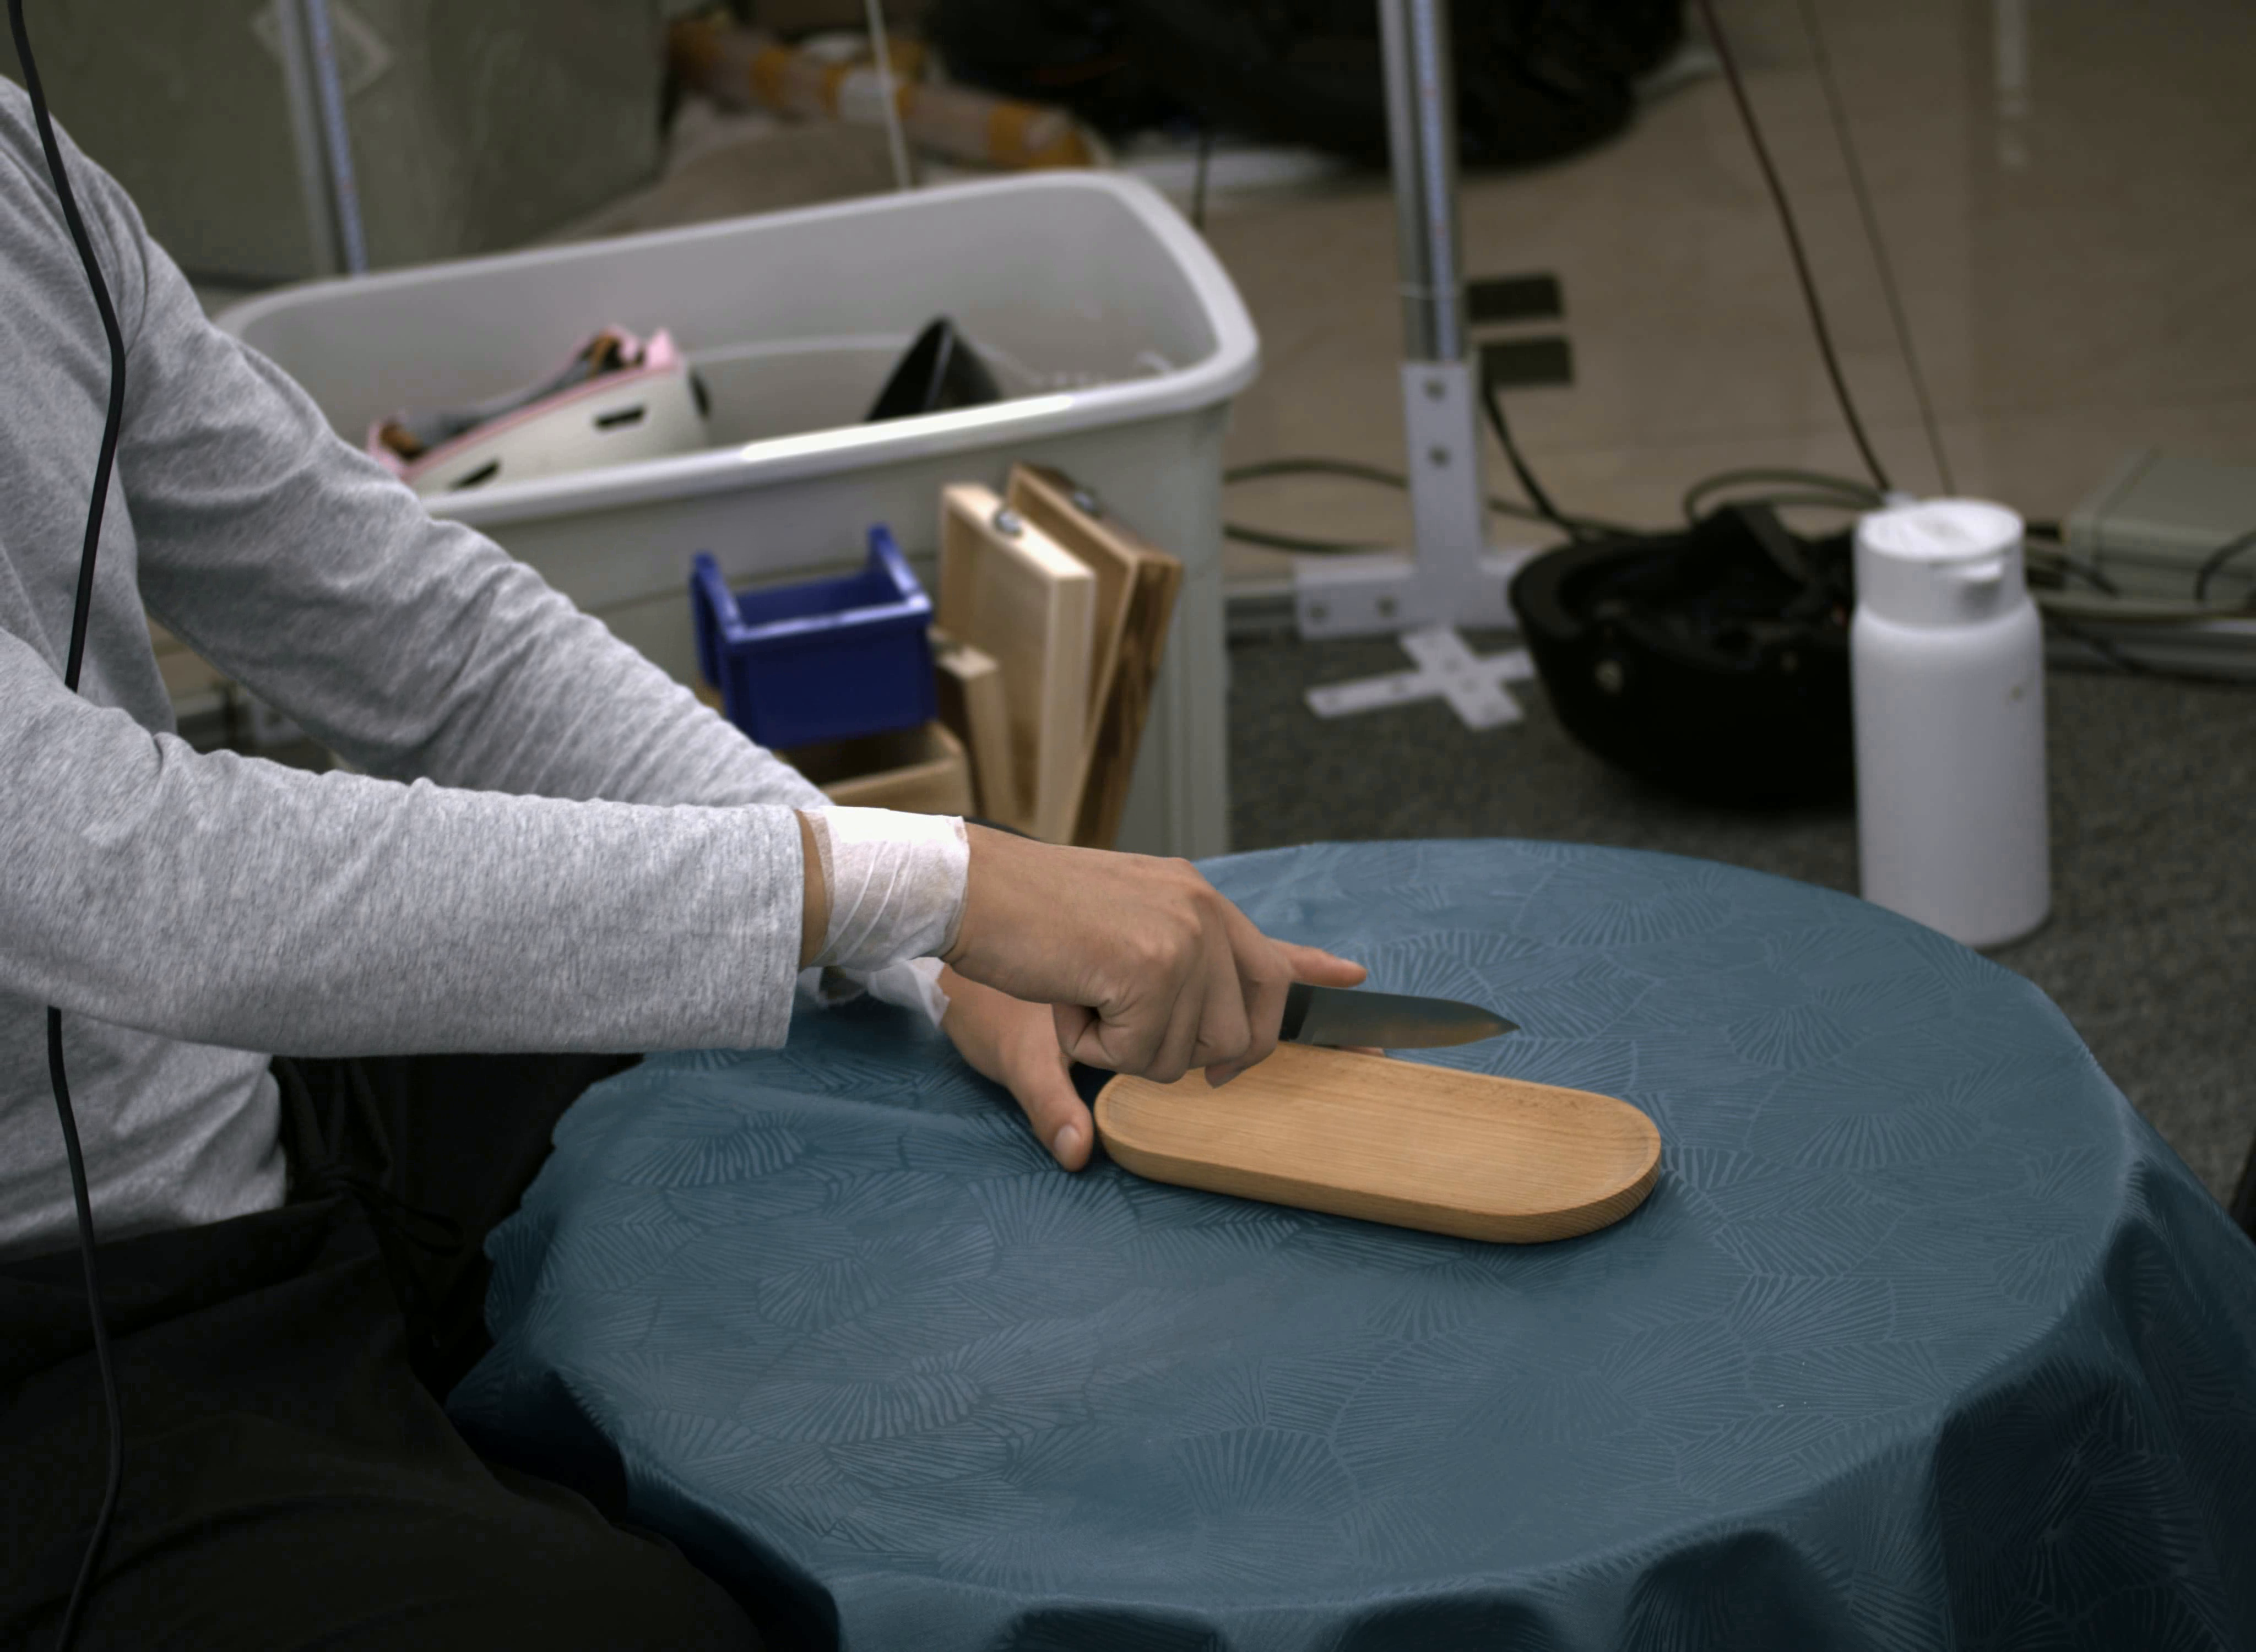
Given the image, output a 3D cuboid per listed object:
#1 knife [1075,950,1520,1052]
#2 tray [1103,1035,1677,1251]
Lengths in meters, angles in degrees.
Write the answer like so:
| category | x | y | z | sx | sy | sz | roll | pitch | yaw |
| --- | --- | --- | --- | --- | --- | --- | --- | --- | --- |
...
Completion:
| category | x | y | z | sx | sy | sz | roll | pitch | yaw |
| --- | --- | --- | --- | --- | --- | --- | --- | --- | --- |
| knife | 0.066 | 0.063 | 2.047 | 0.016 | 0.024 | 0.239 | 5 | -3 | 44 |
| tray | 0.098 | 0.120 | 2.153 | 0.230 | 0.020 | 0.100 | 10 | 32 | 27 |
